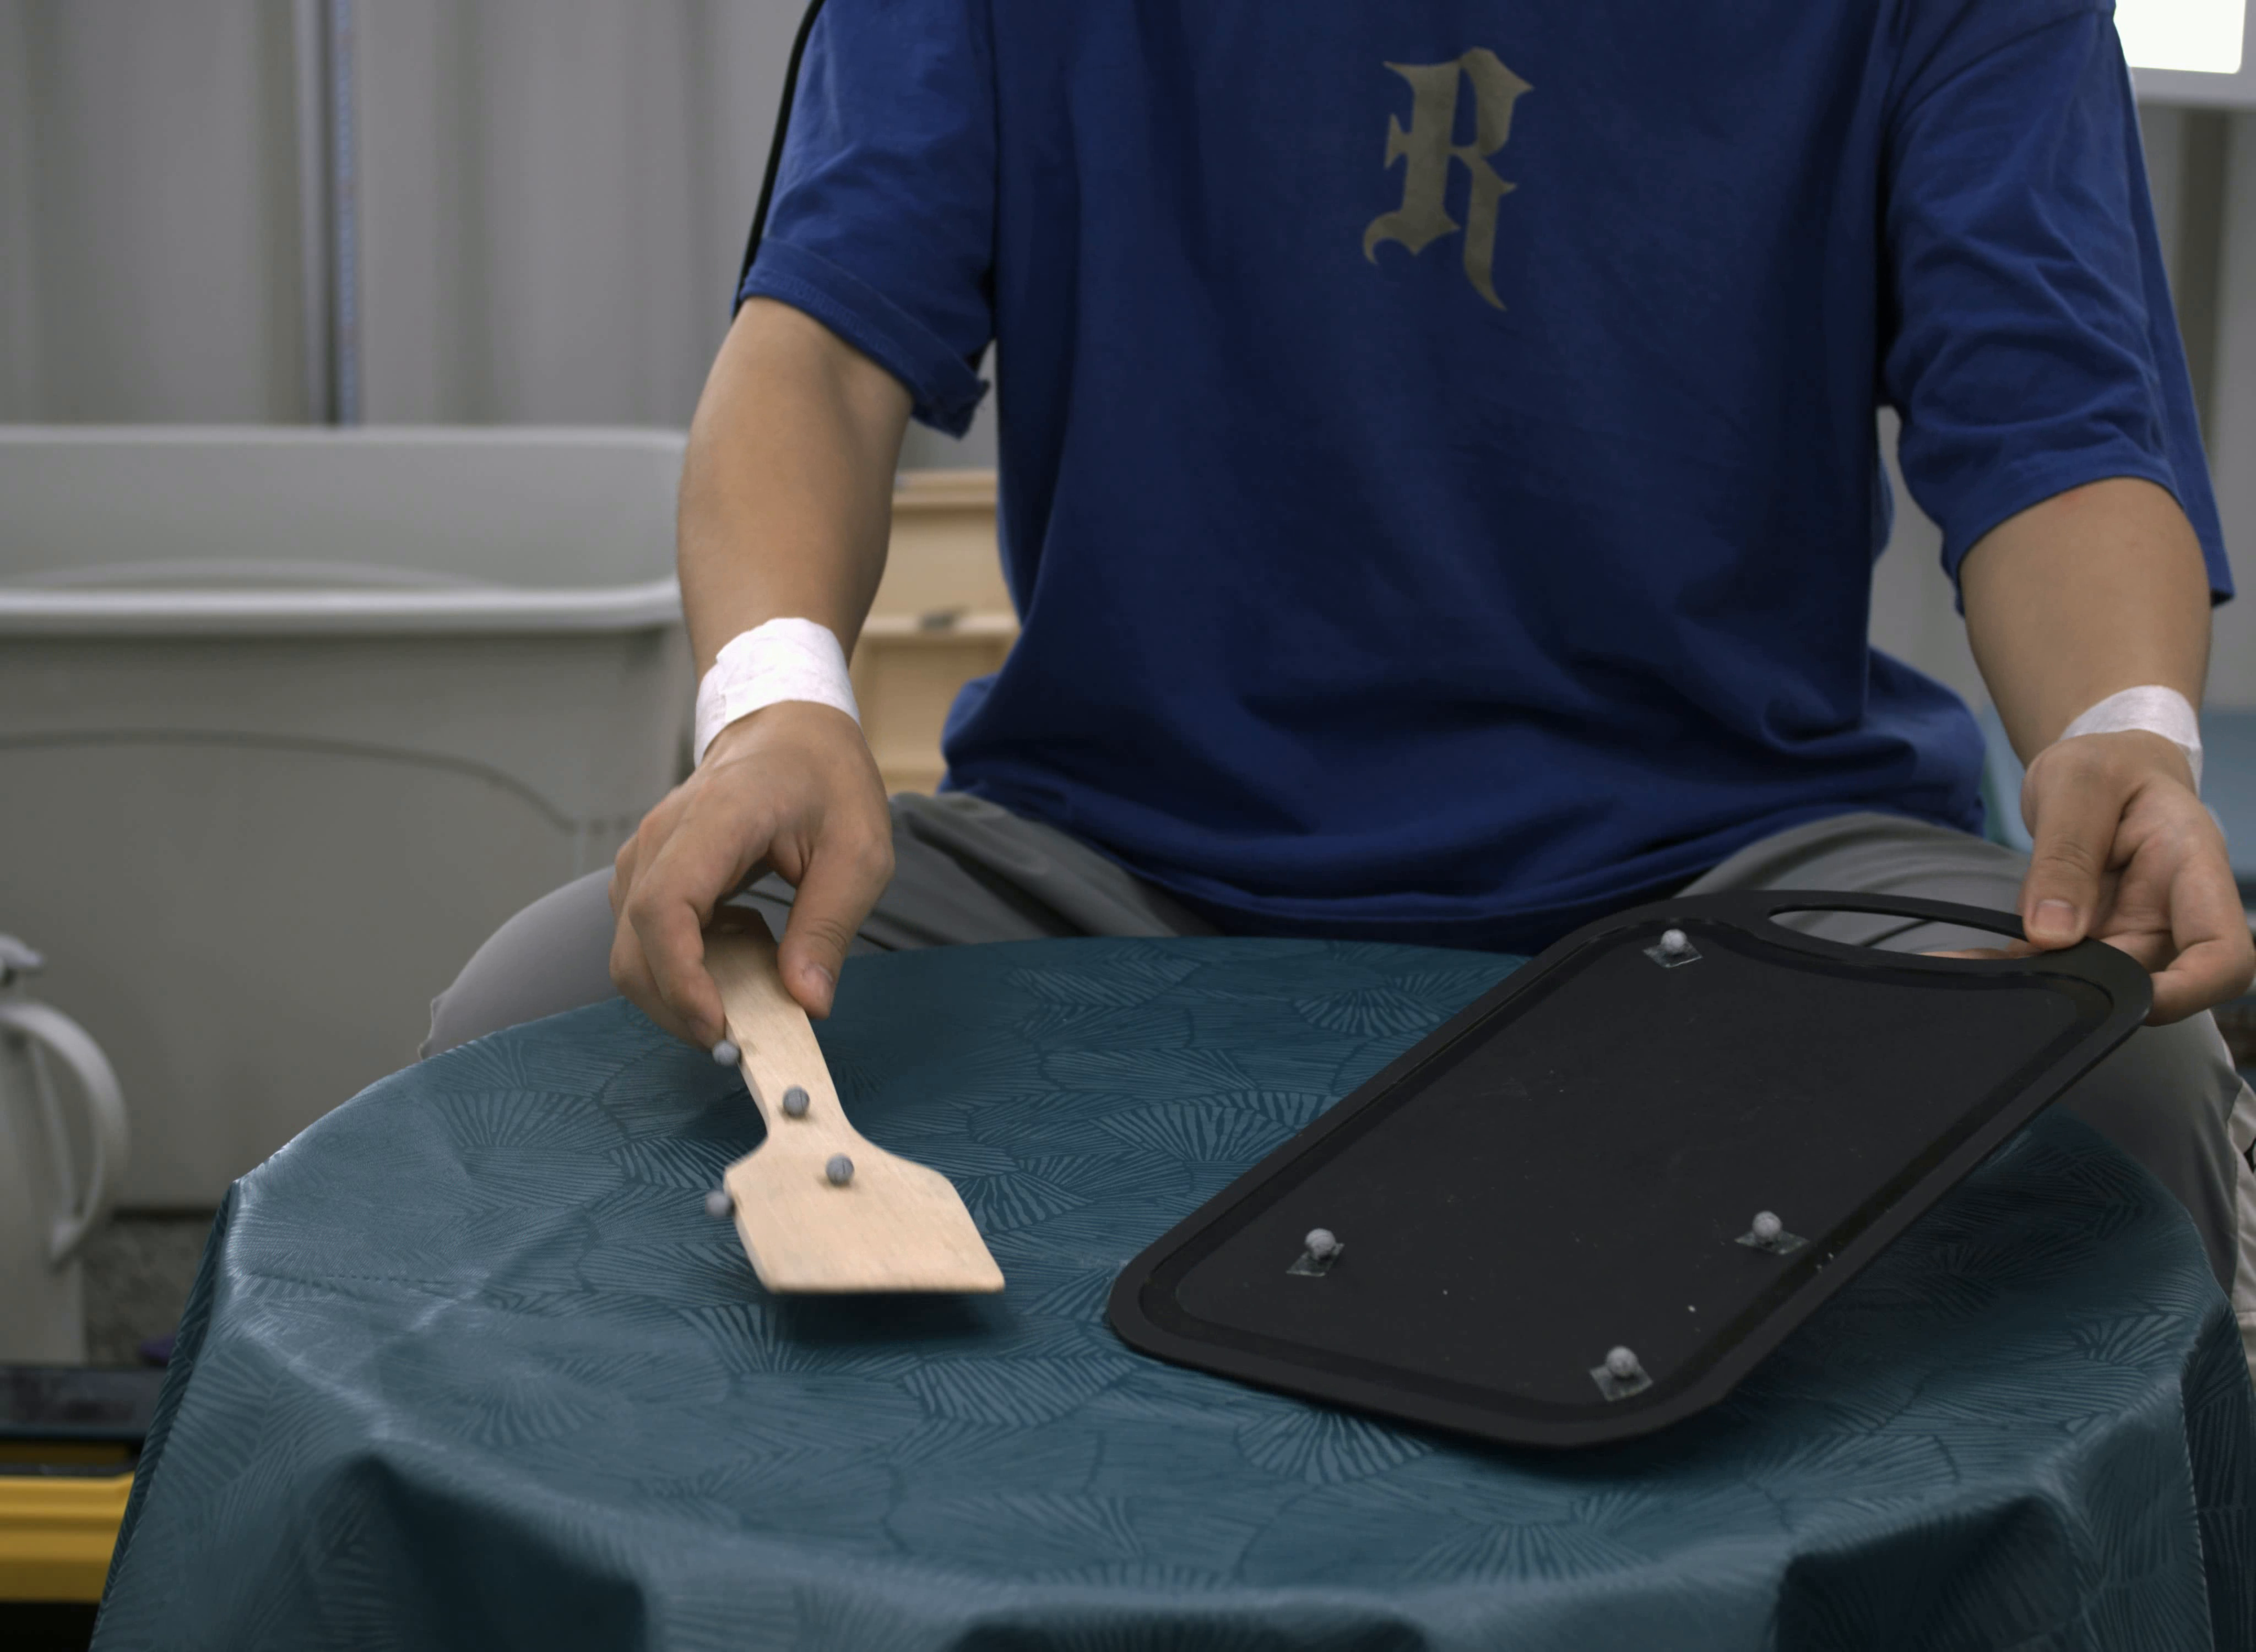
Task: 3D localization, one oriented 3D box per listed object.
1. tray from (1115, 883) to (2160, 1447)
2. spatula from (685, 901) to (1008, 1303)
[{"bbox_3d":[0.157,0.087,1.551,0.208,0.010,0.326,10,31,40],"label":"tray"},{"bbox_3d":[-0.102,0.082,1.621,0.072,0.011,0.290,0,22,-15],"label":"spatula"}]
